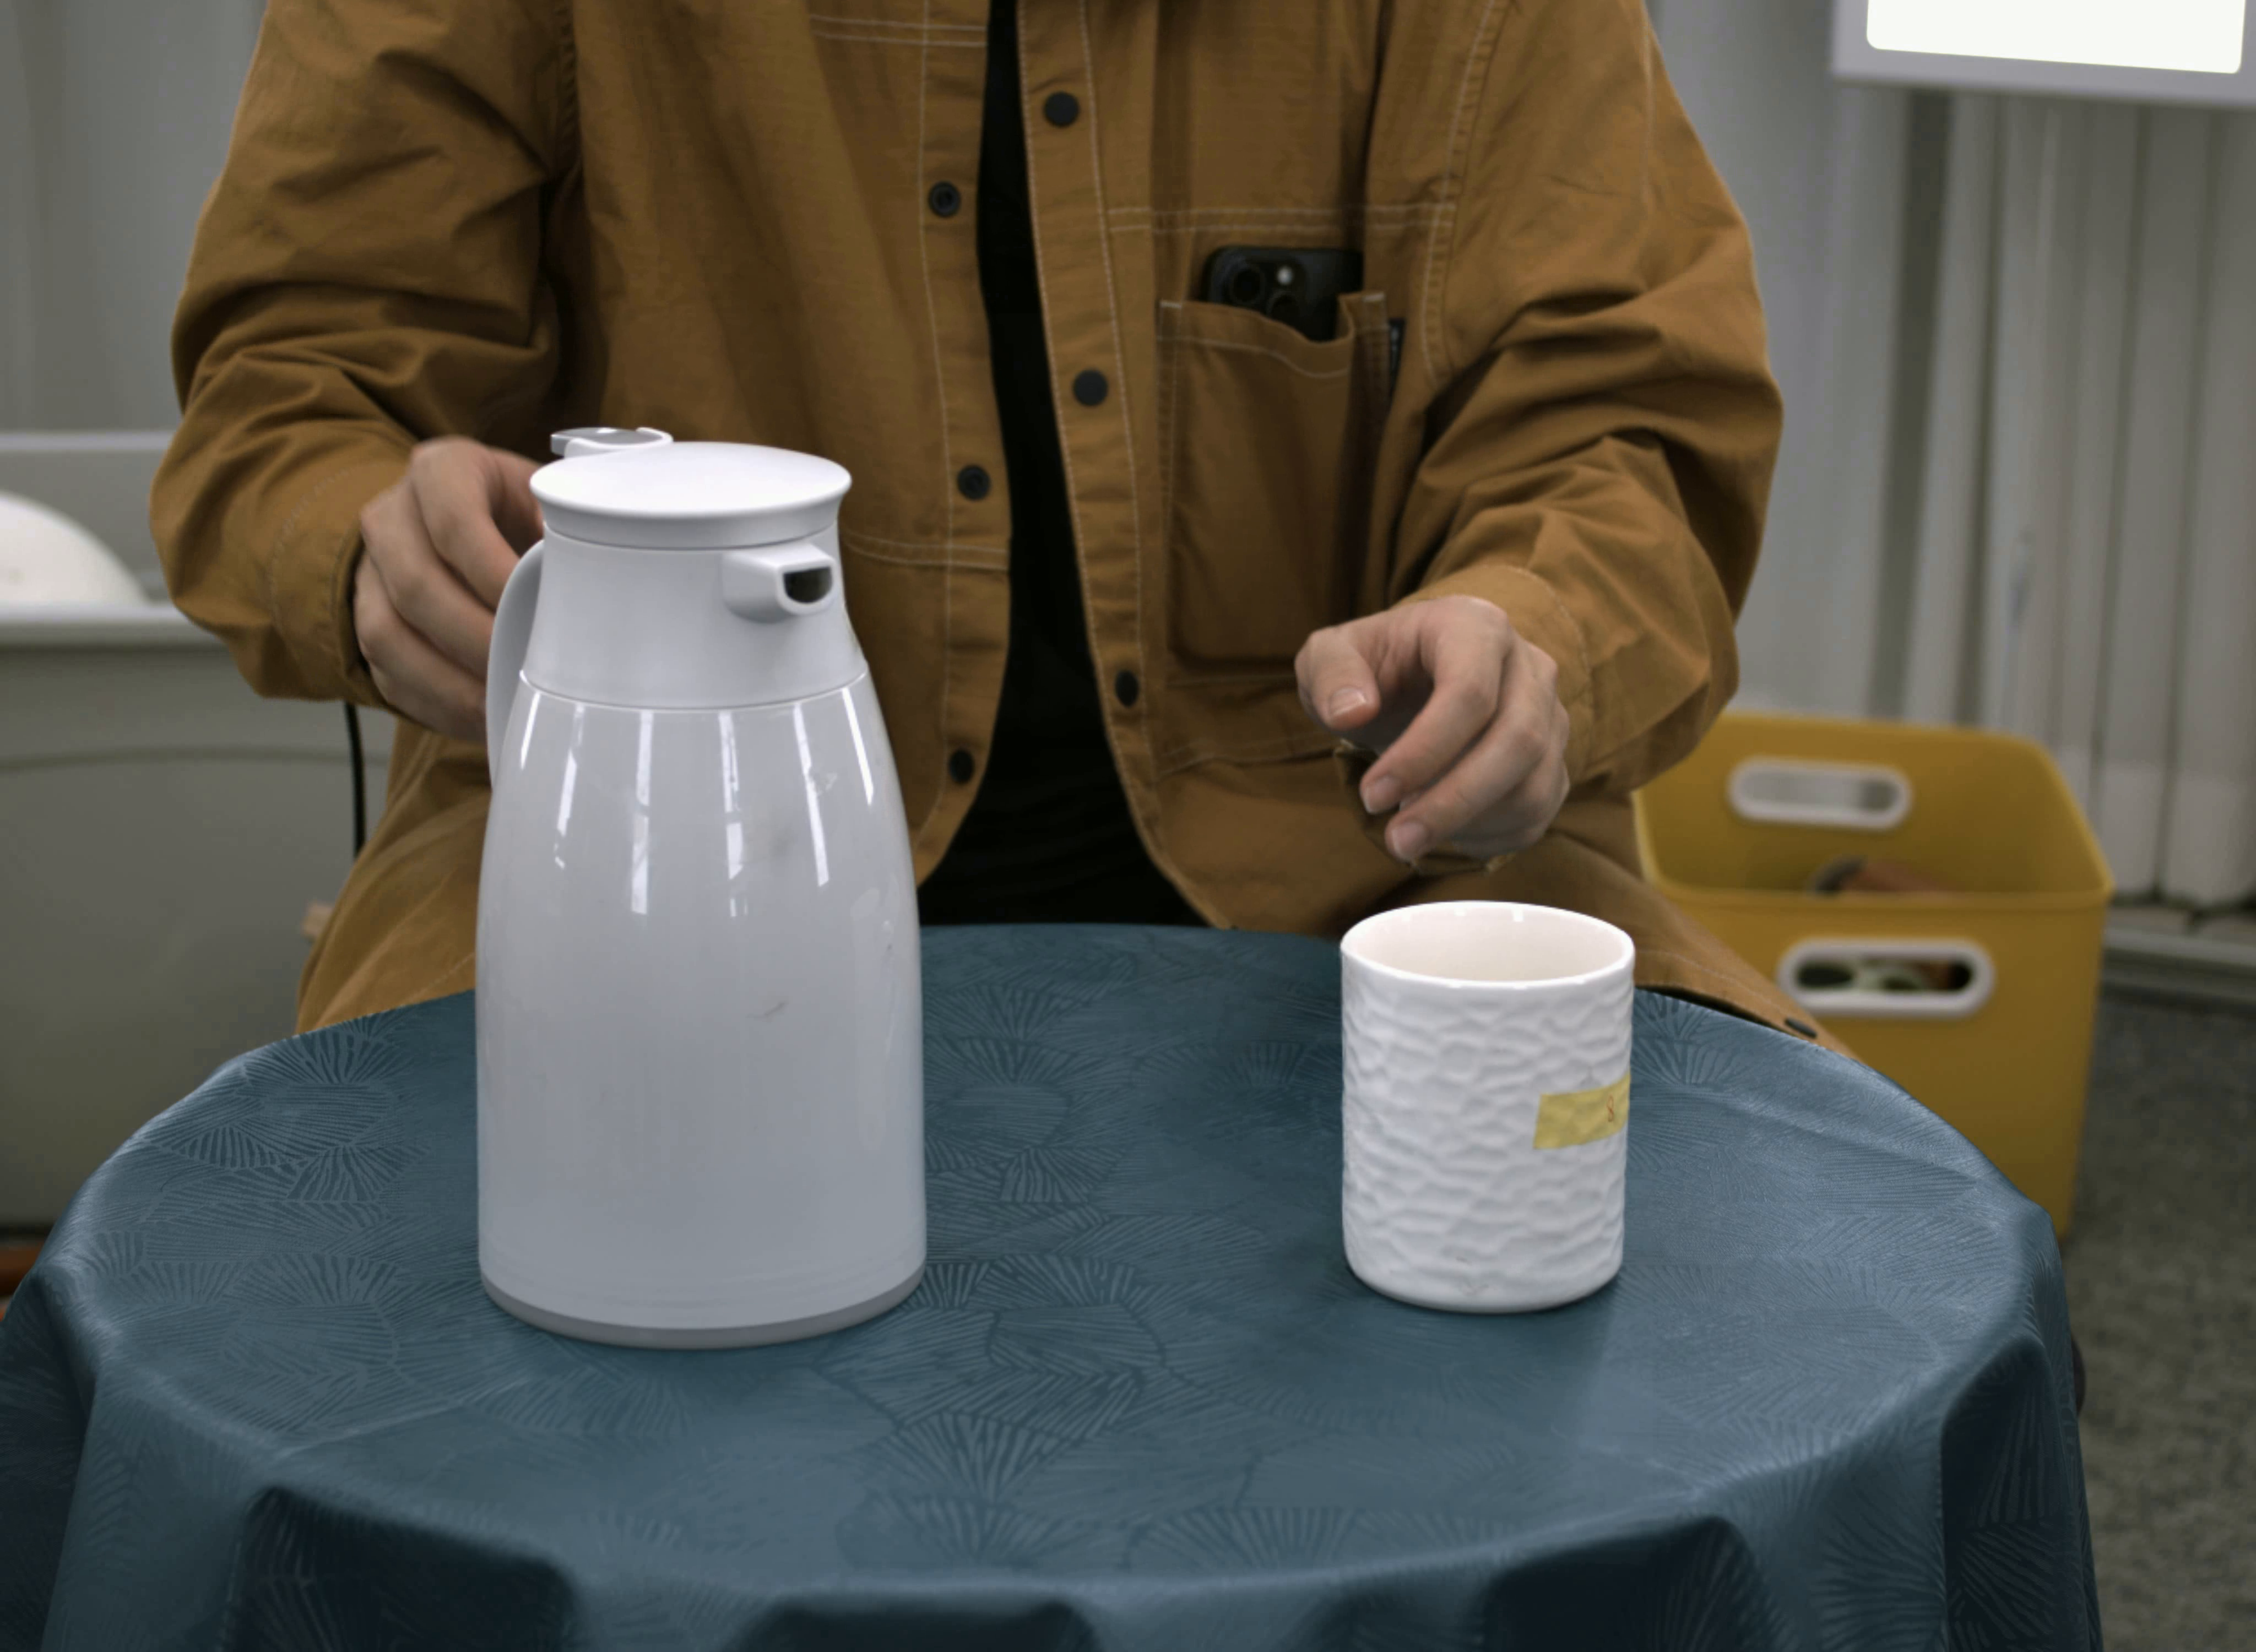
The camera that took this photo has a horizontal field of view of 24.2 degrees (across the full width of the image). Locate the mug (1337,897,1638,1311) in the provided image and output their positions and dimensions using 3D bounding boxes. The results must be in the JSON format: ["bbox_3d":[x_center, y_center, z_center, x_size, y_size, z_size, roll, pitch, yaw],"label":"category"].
[{"bbox_3d":[0.097,0.077,1.557,0.085,0.103,0.117,-8,18,-29],"label":"mug"}]

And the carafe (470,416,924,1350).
[{"bbox_3d":[-0.138,0.008,1.529,0.133,0.250,0.165,-13,20,-36],"label":"carafe"}]
